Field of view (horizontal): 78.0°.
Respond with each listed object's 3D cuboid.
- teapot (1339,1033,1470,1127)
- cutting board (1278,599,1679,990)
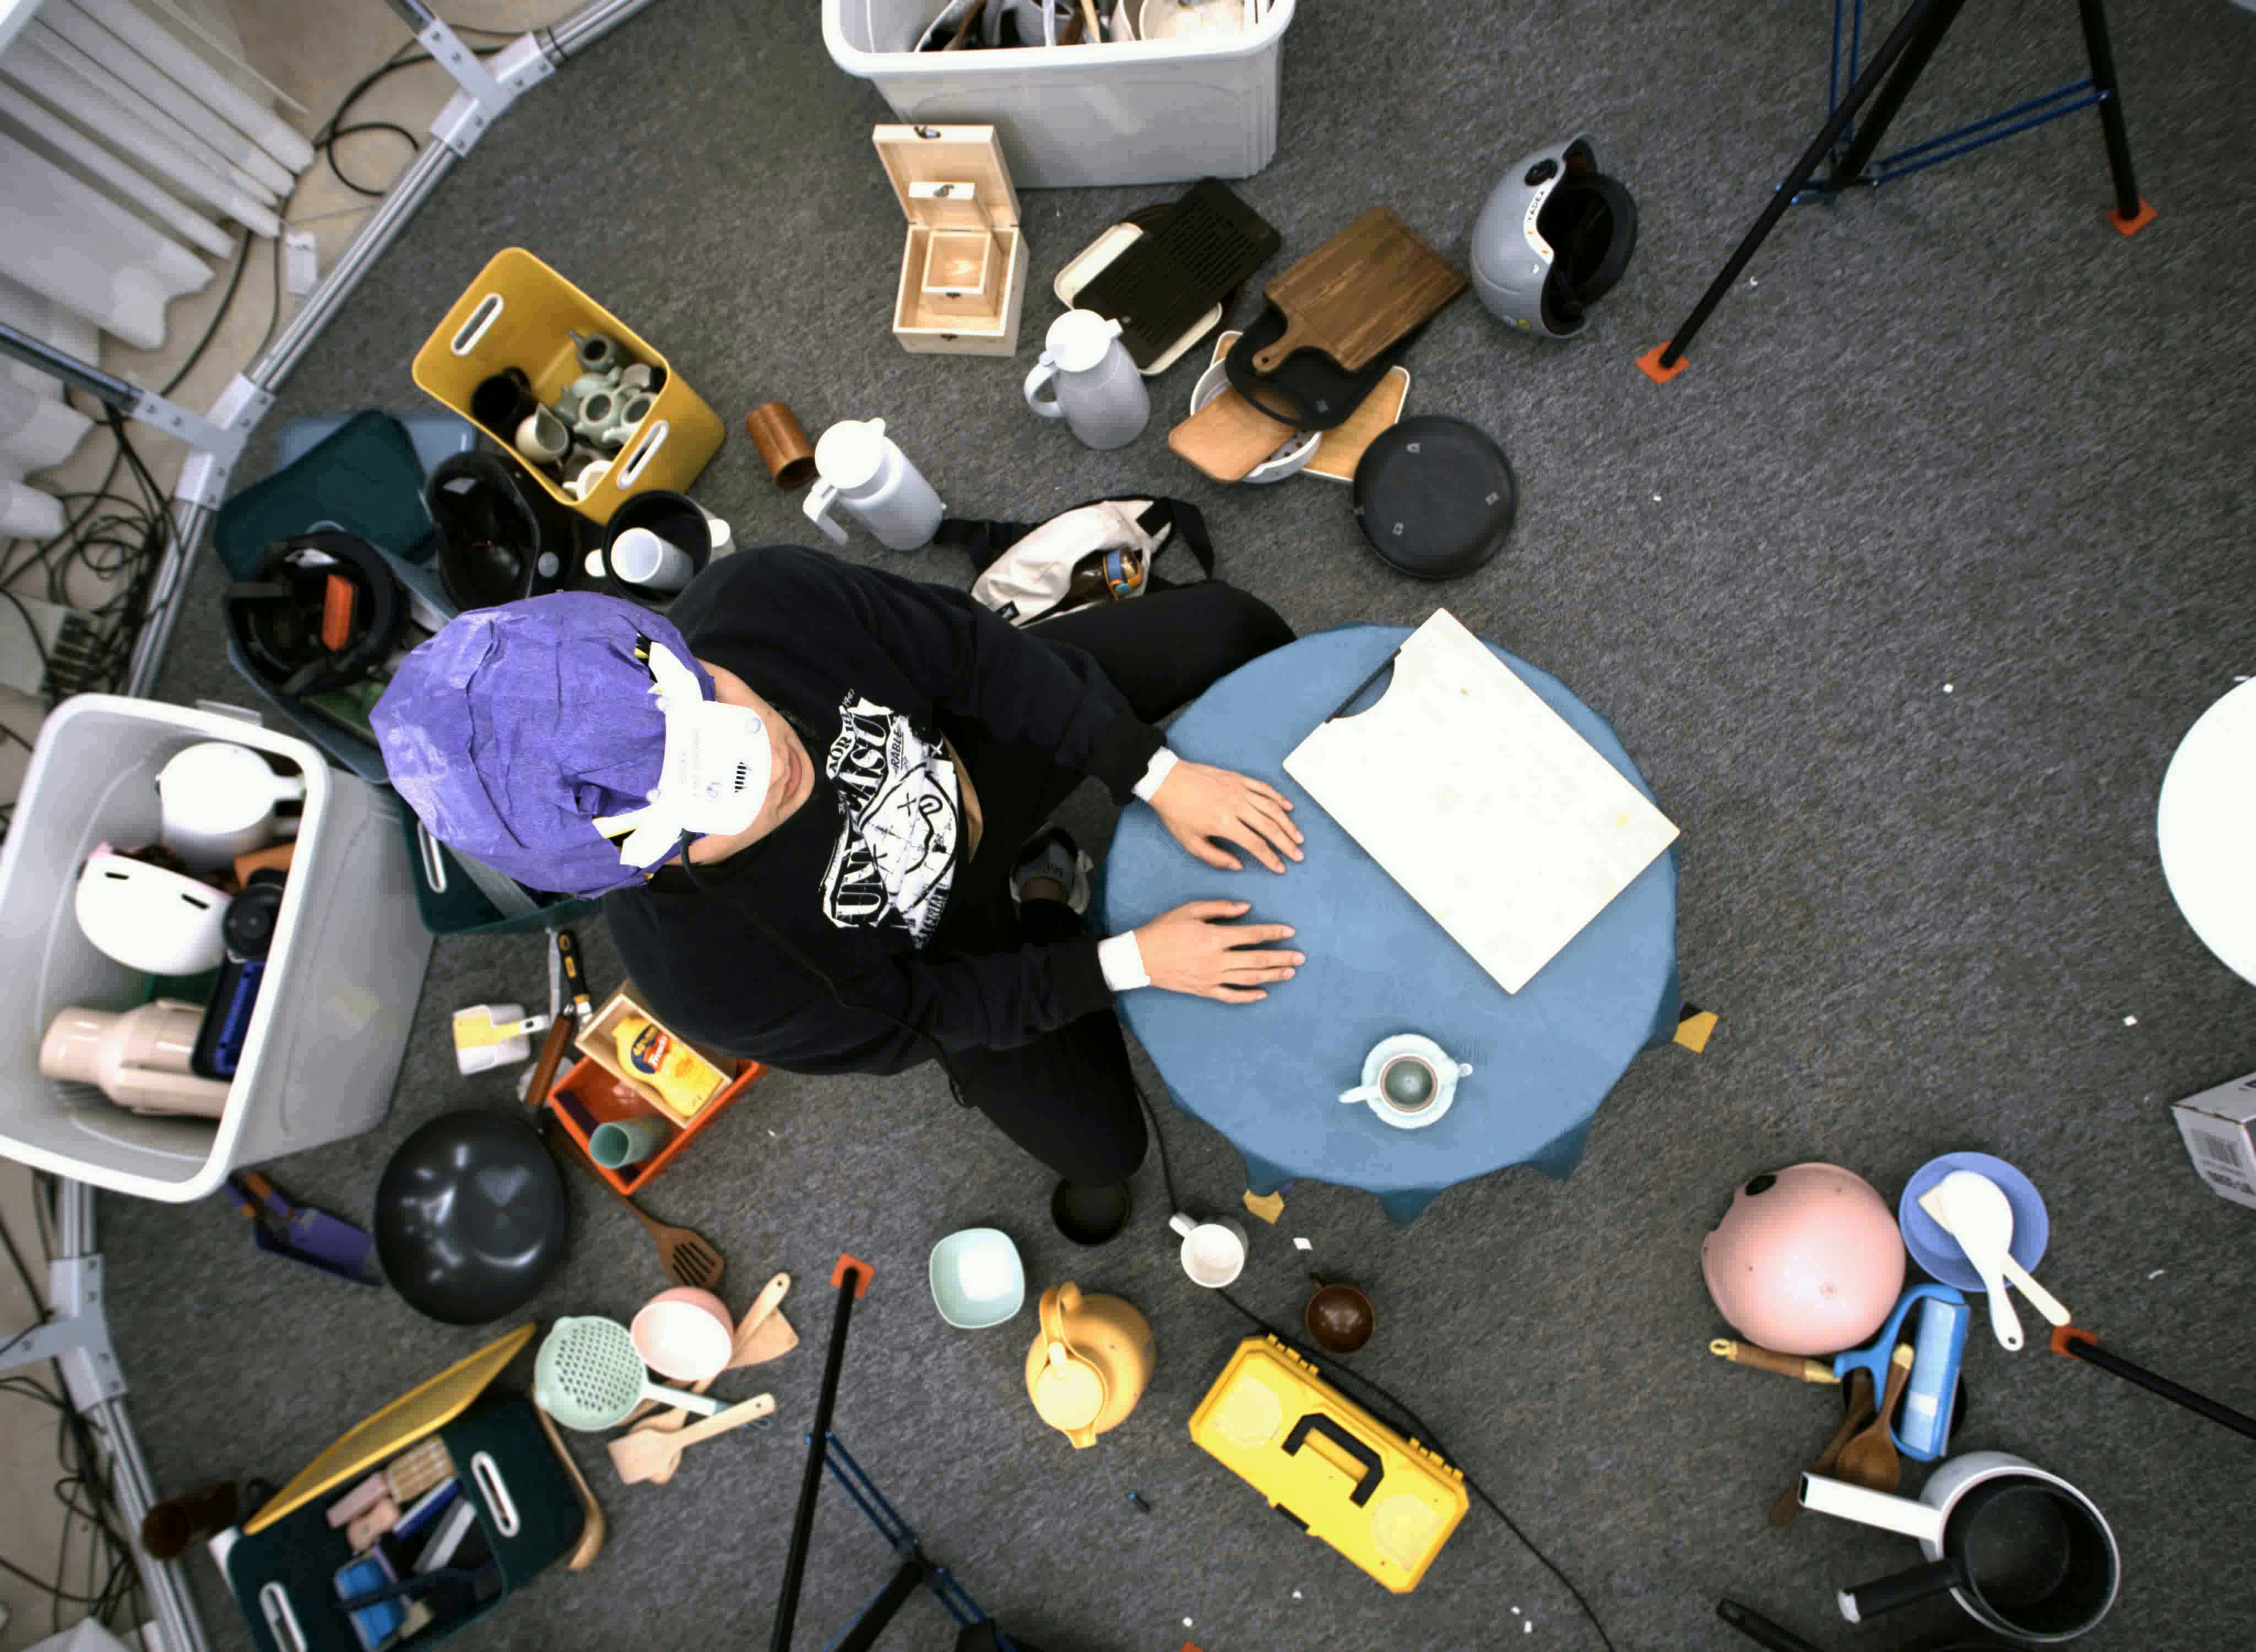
[{"bbox_3d":[0.283,0.261,1.419,0.138,0.061,0.095,-18,84,9],"label":"teapot"},{"bbox_3d":[0.362,-0.035,1.440,0.347,0.023,0.252,45,96,10],"label":"cutting board"}]
